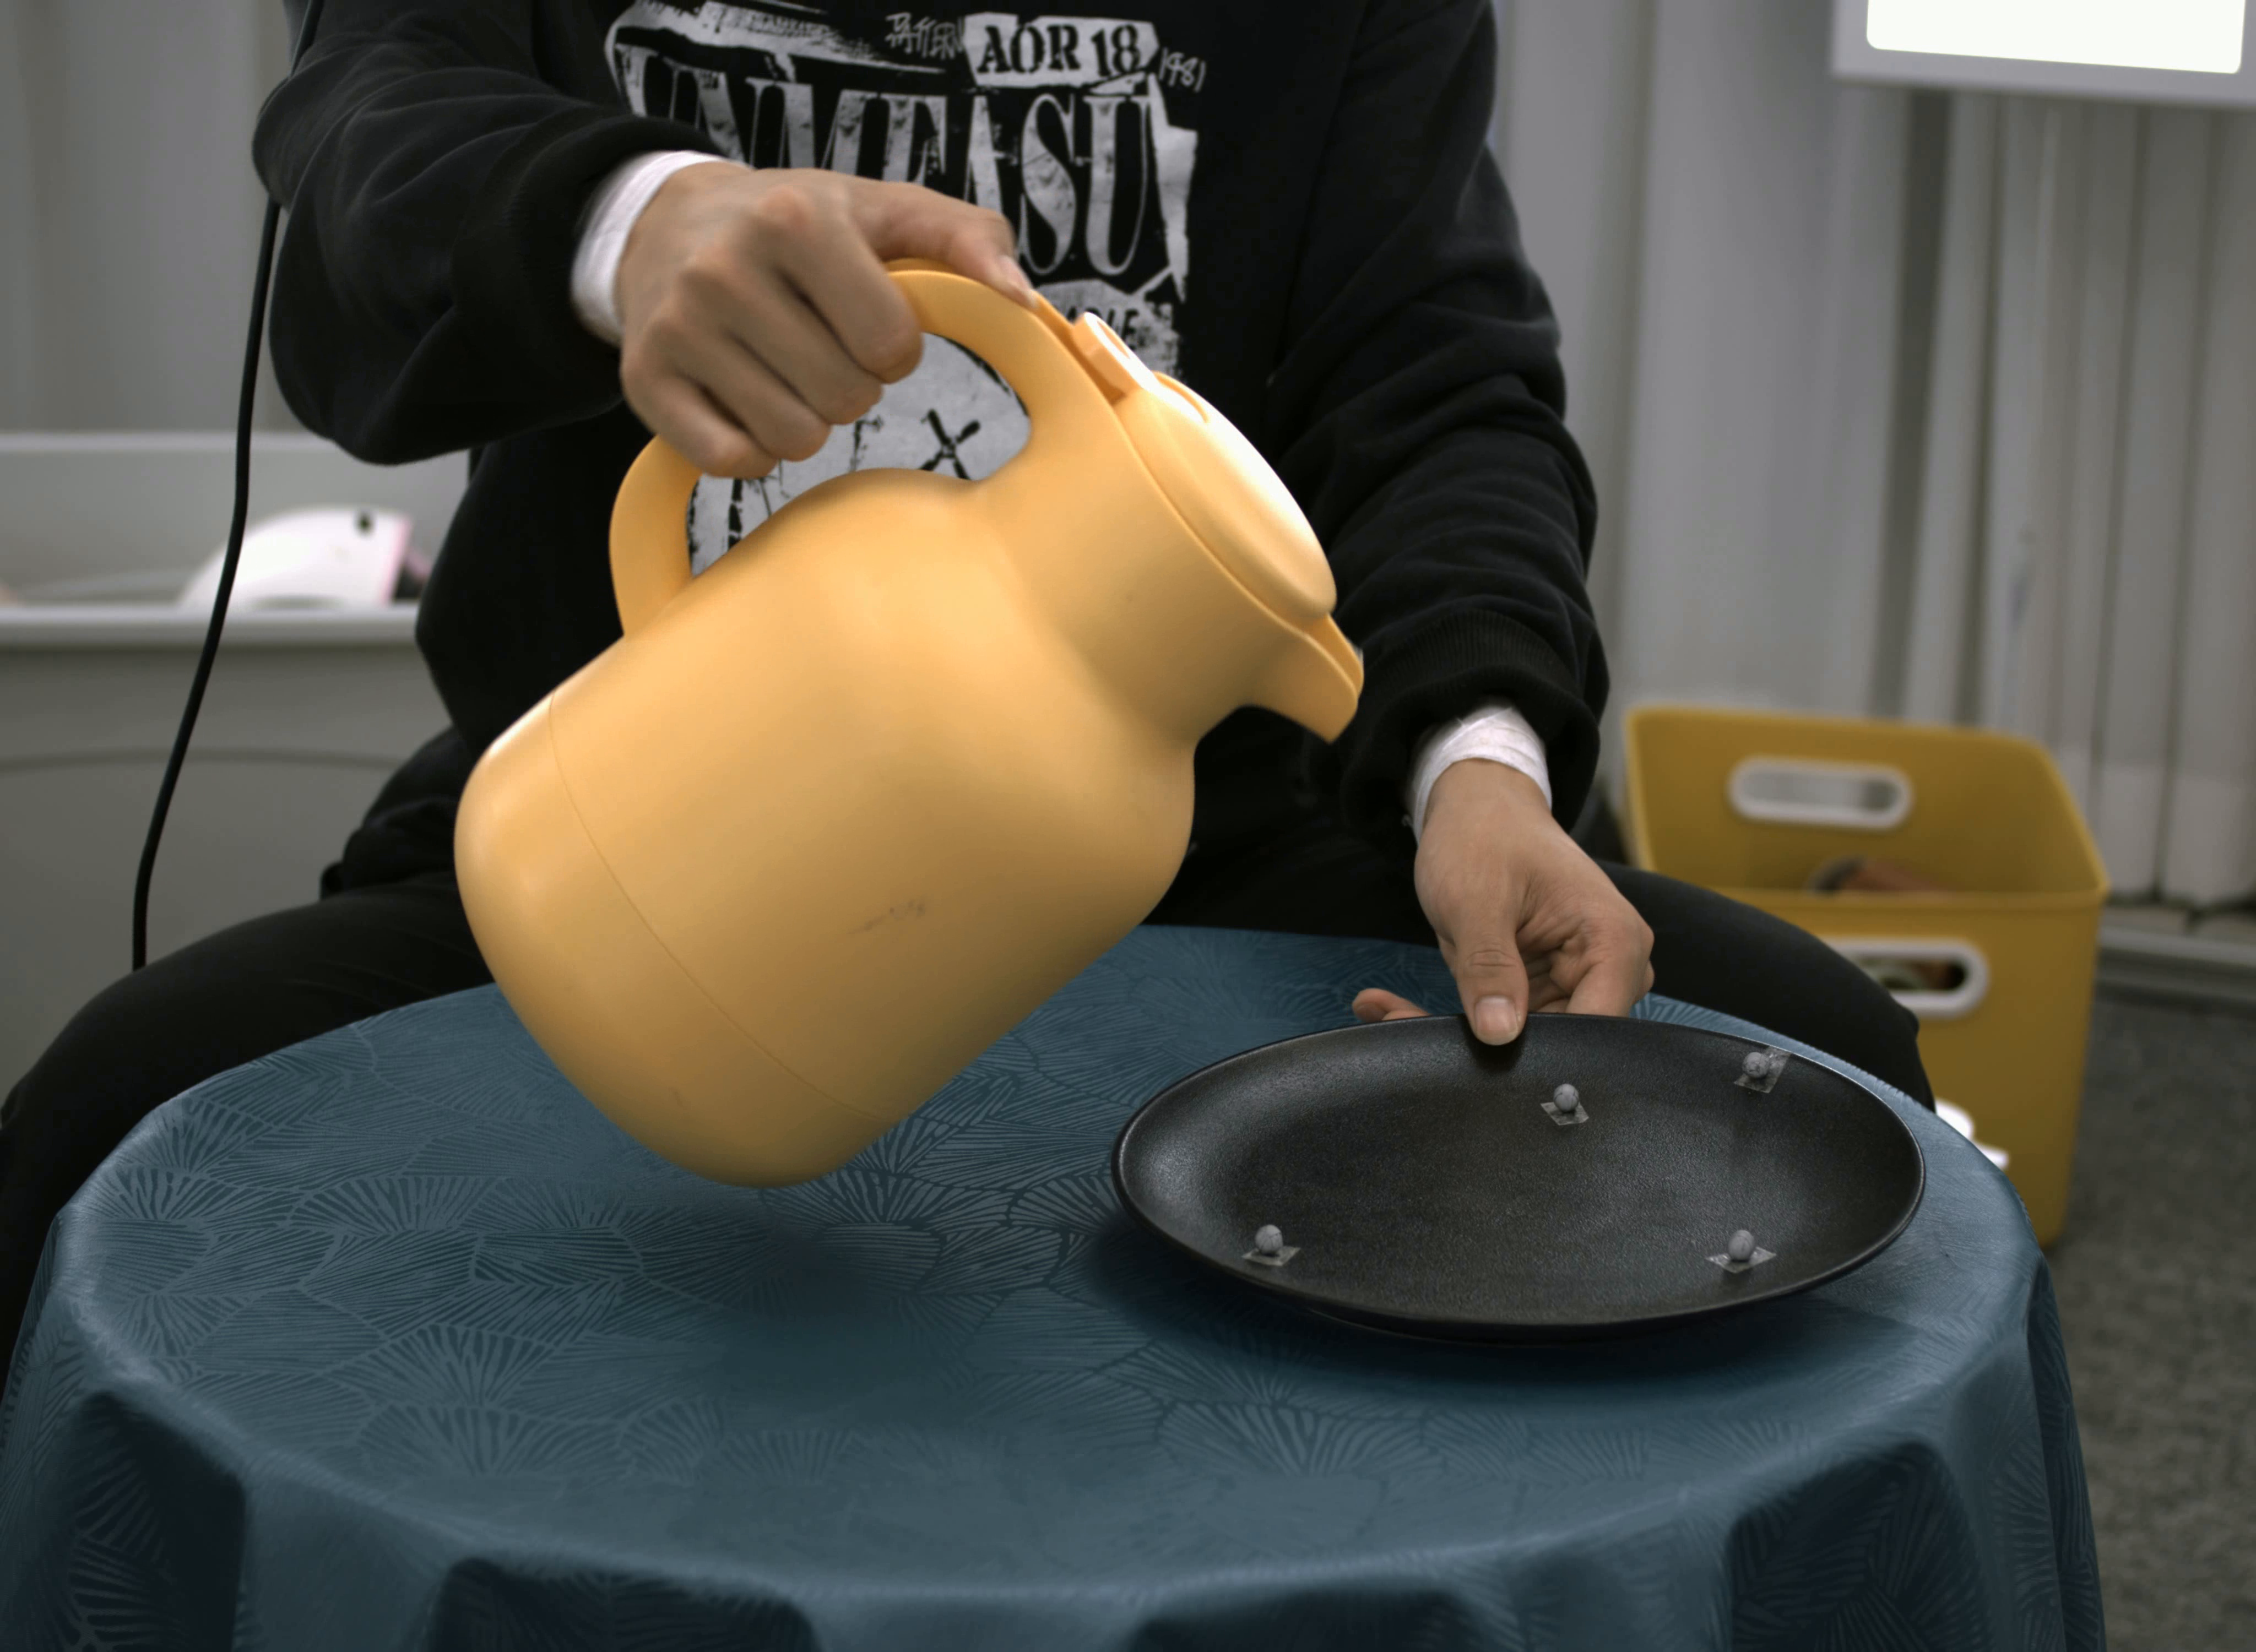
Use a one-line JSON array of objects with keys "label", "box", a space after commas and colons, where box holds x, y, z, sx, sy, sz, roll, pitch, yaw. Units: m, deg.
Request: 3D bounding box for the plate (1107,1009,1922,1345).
[{"label": "plate", "box": [0.115, 0.108, 1.577, 0.243, 0.023, 0.243, 0, 19, 1]}]

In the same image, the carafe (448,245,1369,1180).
[{"label": "carafe", "box": [-0.072, -0.040, 1.524, 0.260, 0.203, 0.163, -36, 7, 11]}]
